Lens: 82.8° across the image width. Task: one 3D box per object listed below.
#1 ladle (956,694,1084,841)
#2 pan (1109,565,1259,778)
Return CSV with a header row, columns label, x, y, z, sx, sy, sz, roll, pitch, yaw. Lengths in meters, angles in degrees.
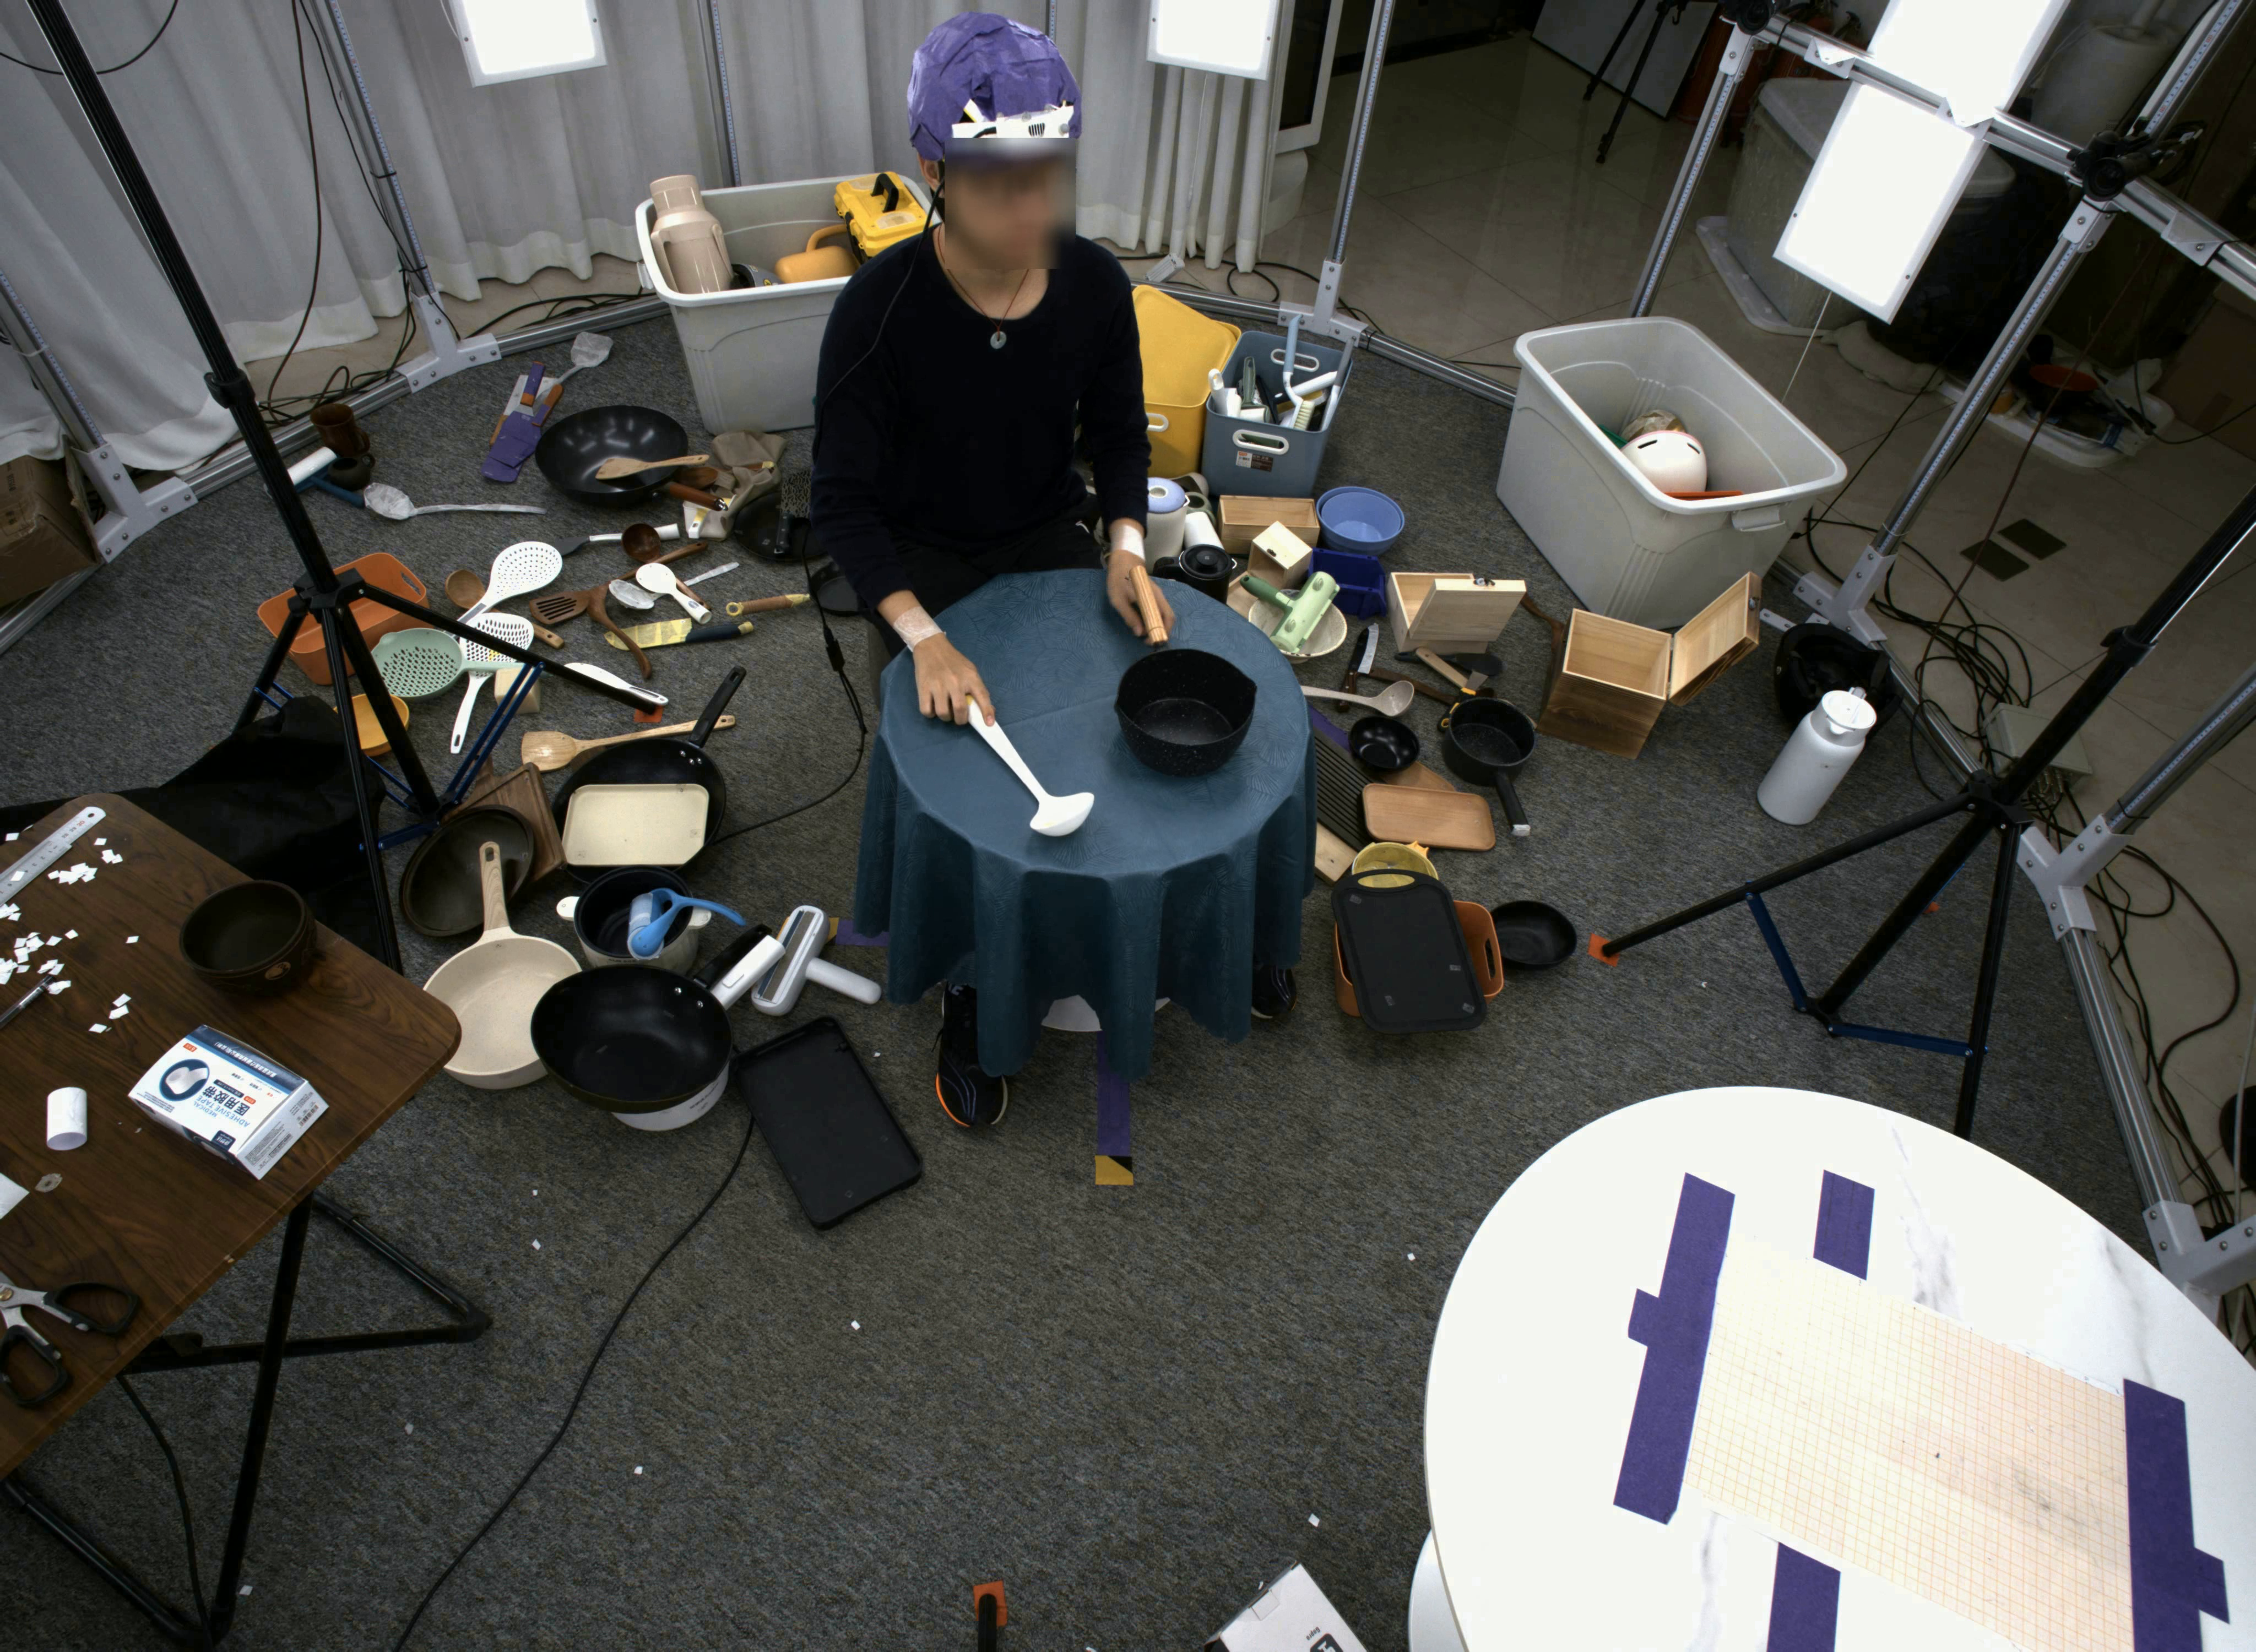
label,x,y,z,sx,sy,sz,roll,pitch,yaw
ladle,-0.153,-0.086,1.694,0.090,0.068,0.299,-33,56,-8
pan,0.054,-0.217,1.791,0.207,0.105,0.351,-11,52,-12
